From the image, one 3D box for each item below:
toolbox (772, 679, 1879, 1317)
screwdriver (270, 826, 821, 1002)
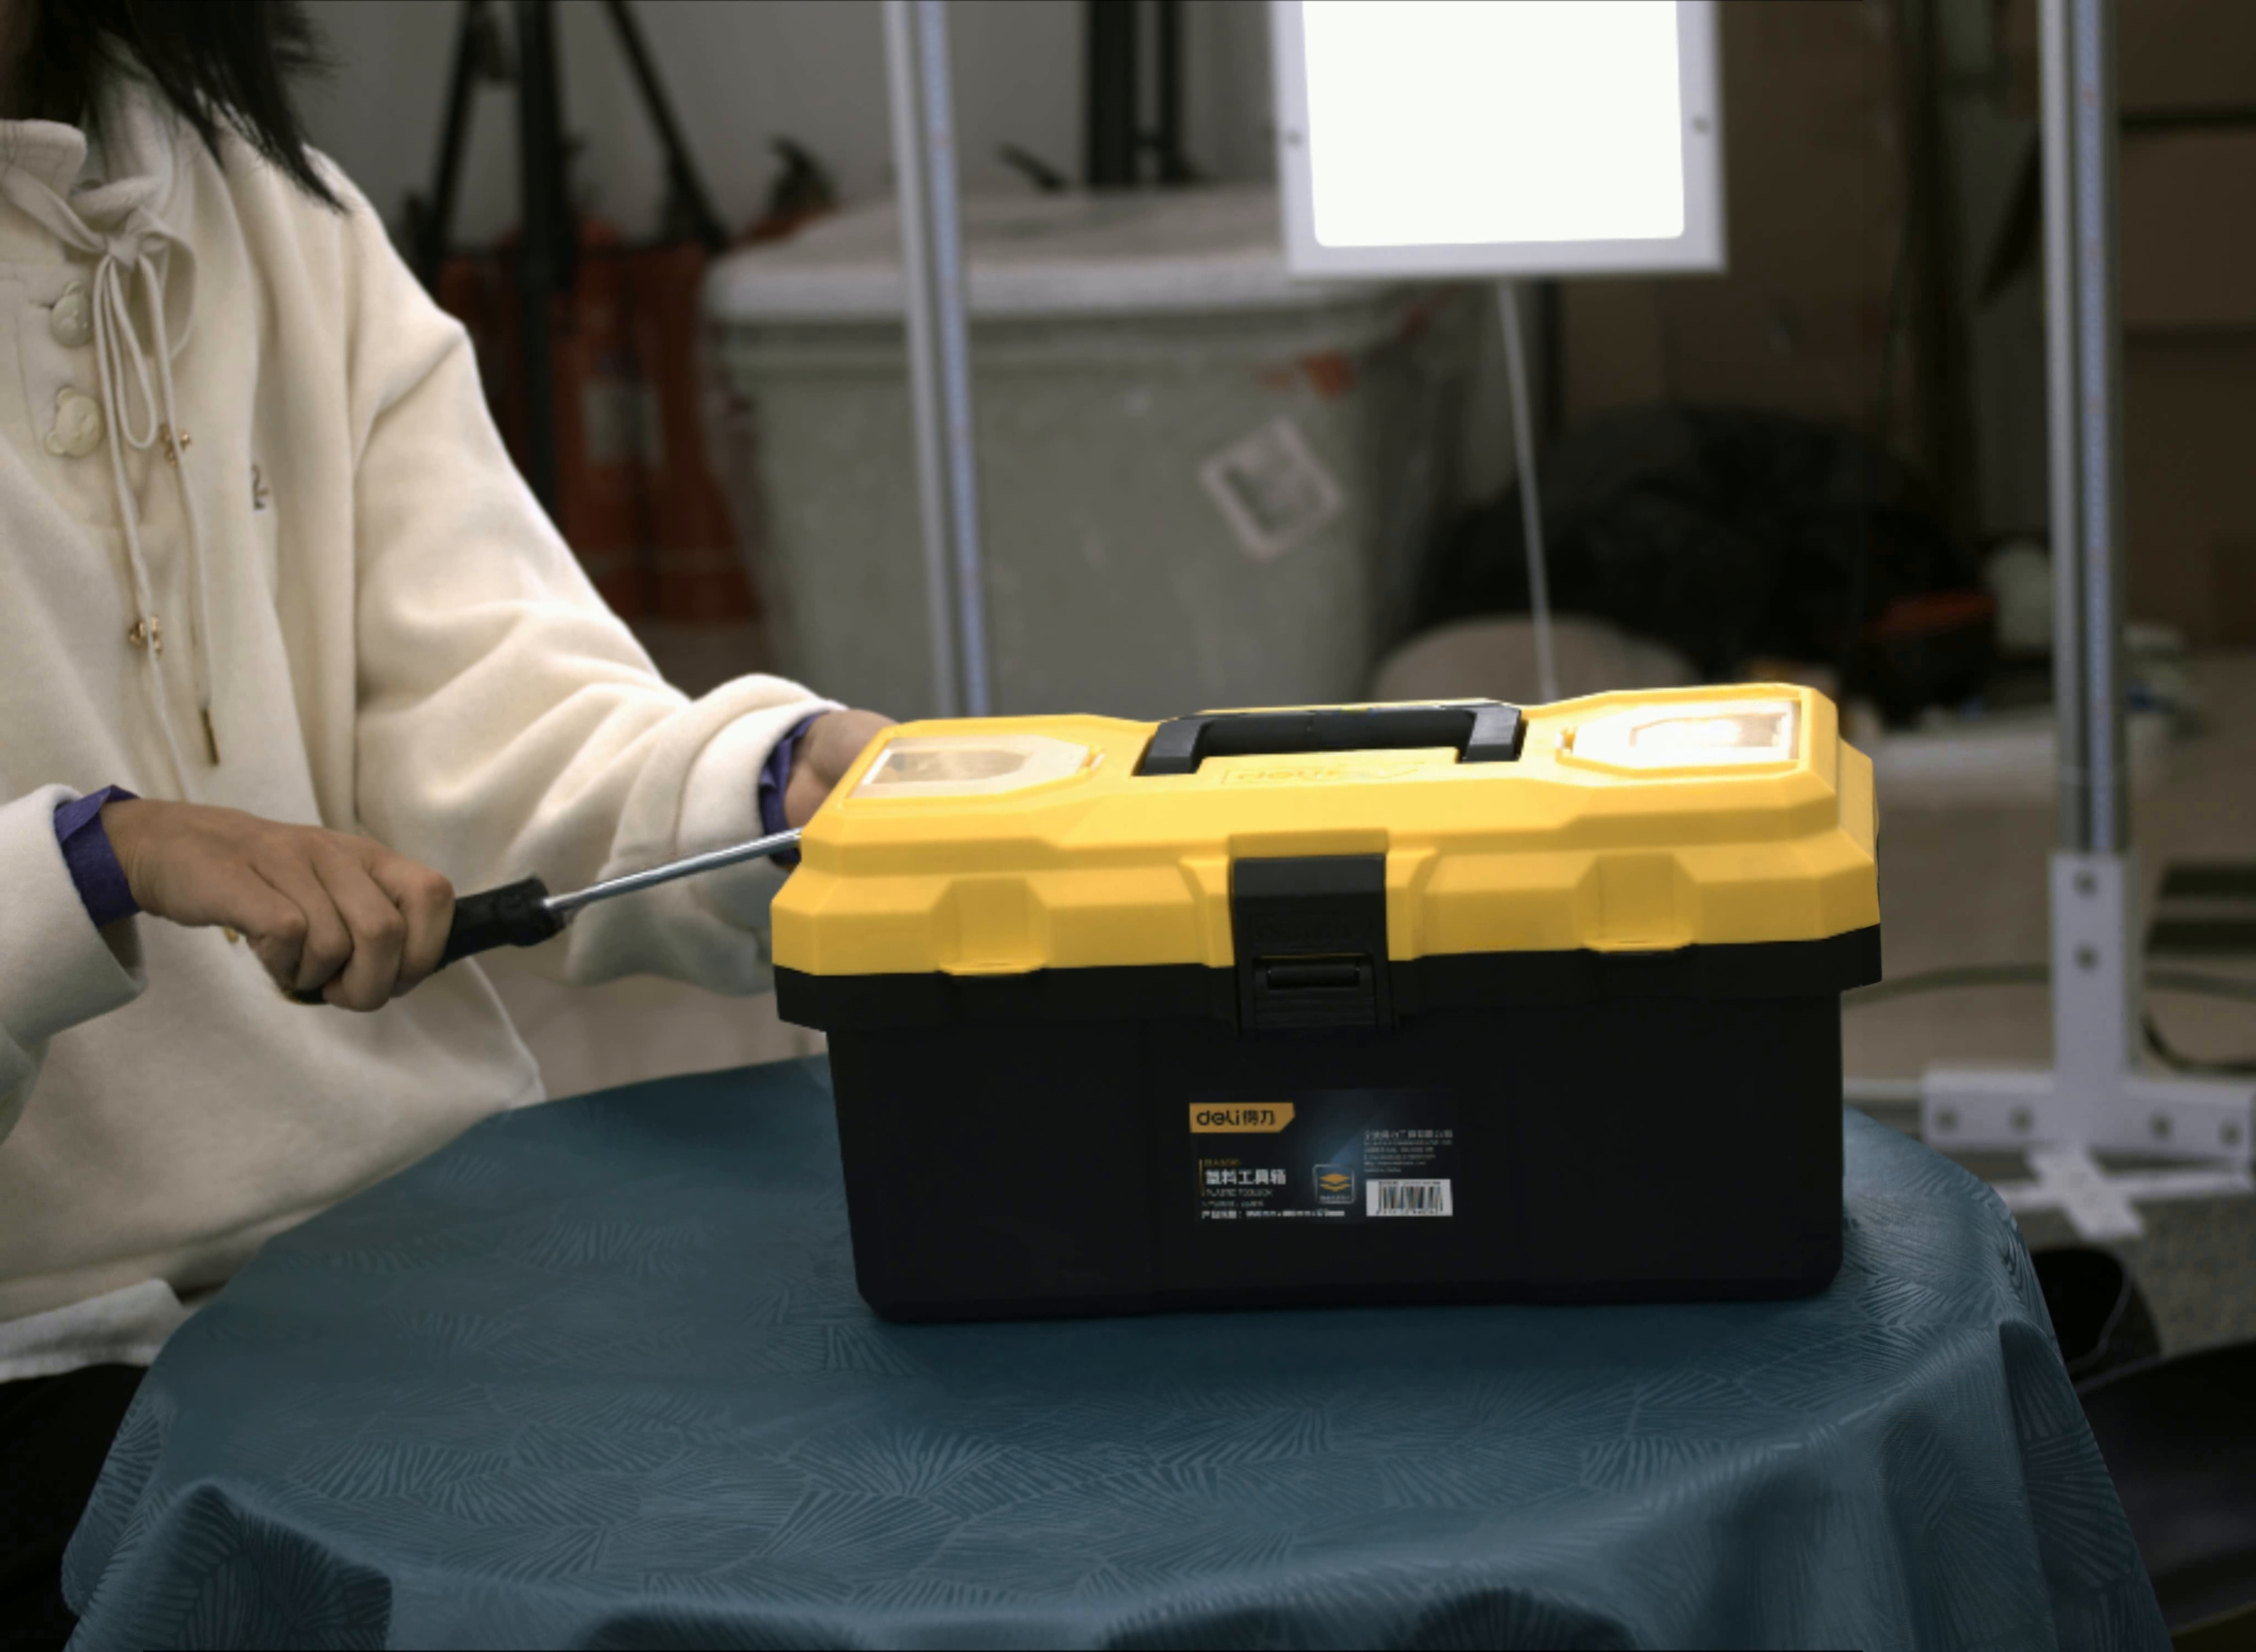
[{"bbox_3d":[0.070,0.057,1.792,0.353,0.173,0.179,-2,14,11],"label":"toolbox"},{"bbox_3d":[-0.193,0.023,1.813,0.199,0.031,0.031,-17,10,19],"label":"screwdriver"}]
